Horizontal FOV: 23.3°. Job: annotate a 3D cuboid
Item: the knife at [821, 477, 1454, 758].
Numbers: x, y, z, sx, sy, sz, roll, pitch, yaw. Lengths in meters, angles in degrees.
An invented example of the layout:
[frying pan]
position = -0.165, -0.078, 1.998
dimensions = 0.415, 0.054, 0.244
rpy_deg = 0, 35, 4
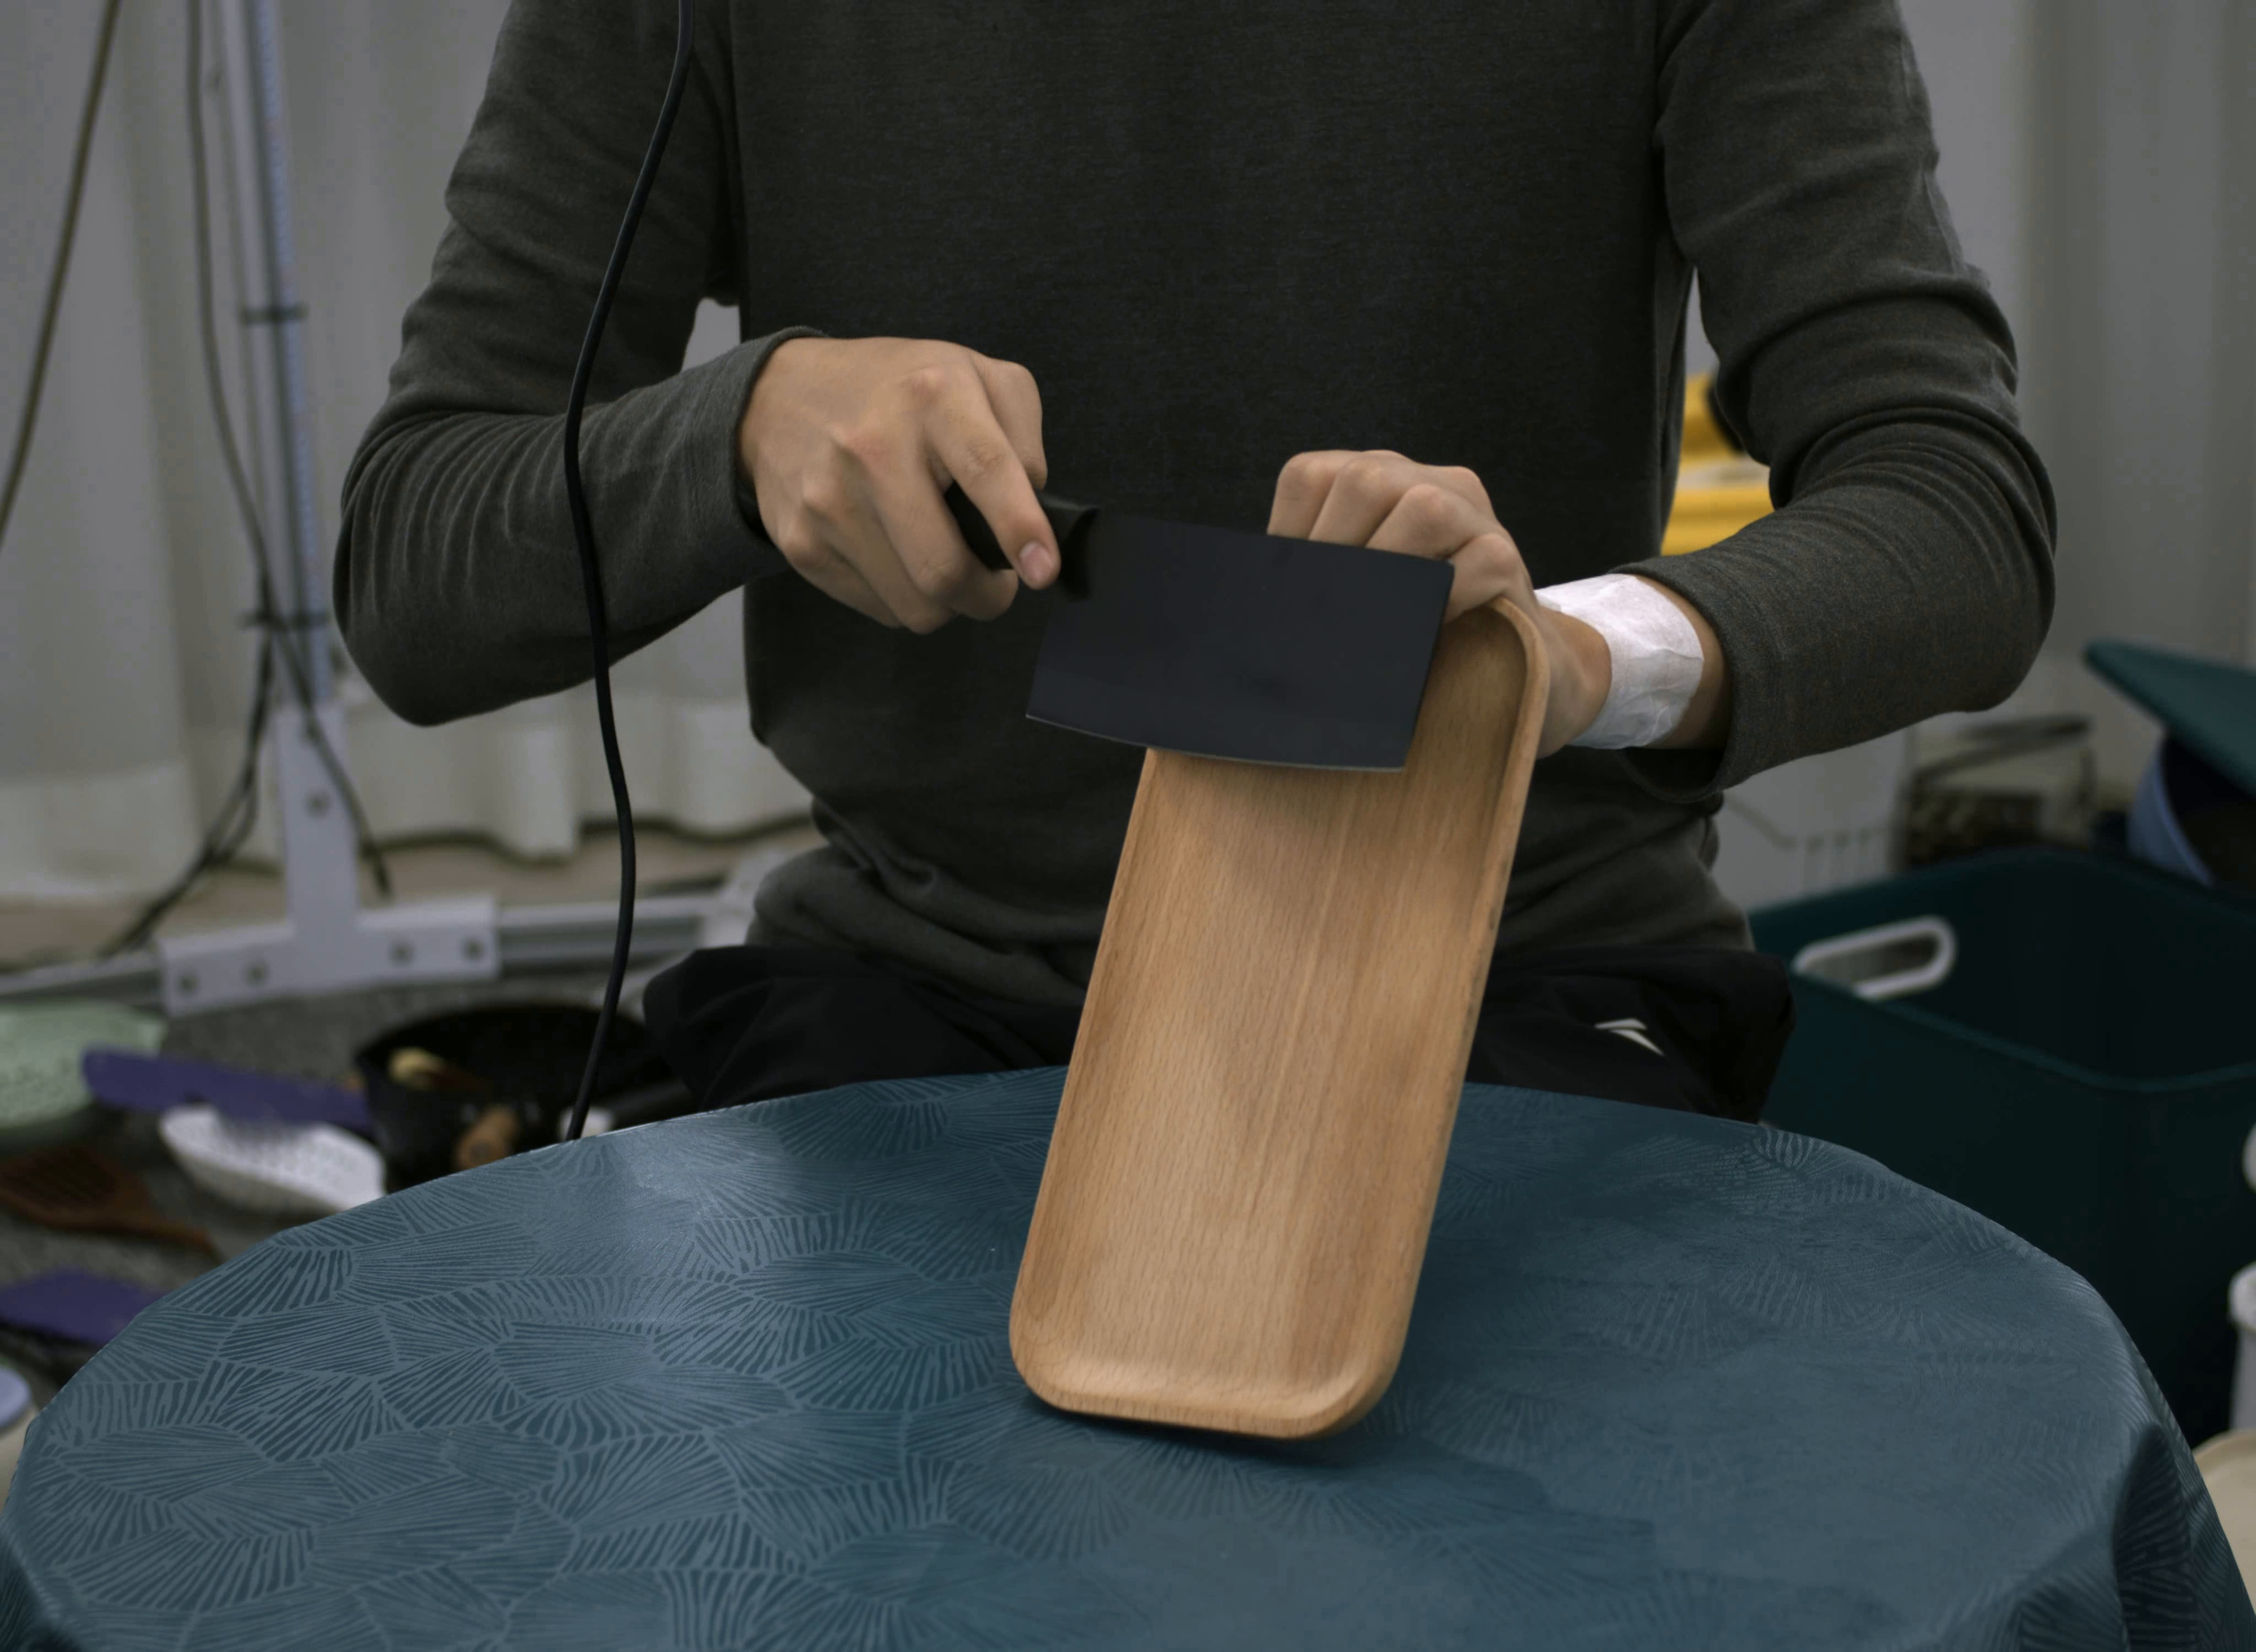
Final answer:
[knife]
position = -0.004, -0.066, 1.624
dimensions = 0.020, 0.081, 0.304
rpy_deg = 17, 0, -37

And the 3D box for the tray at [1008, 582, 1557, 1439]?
[tray]
position = 0.045, 0.049, 1.544
dimensions = 0.131, 0.253, 0.022
rpy_deg = 4, -20, 33
